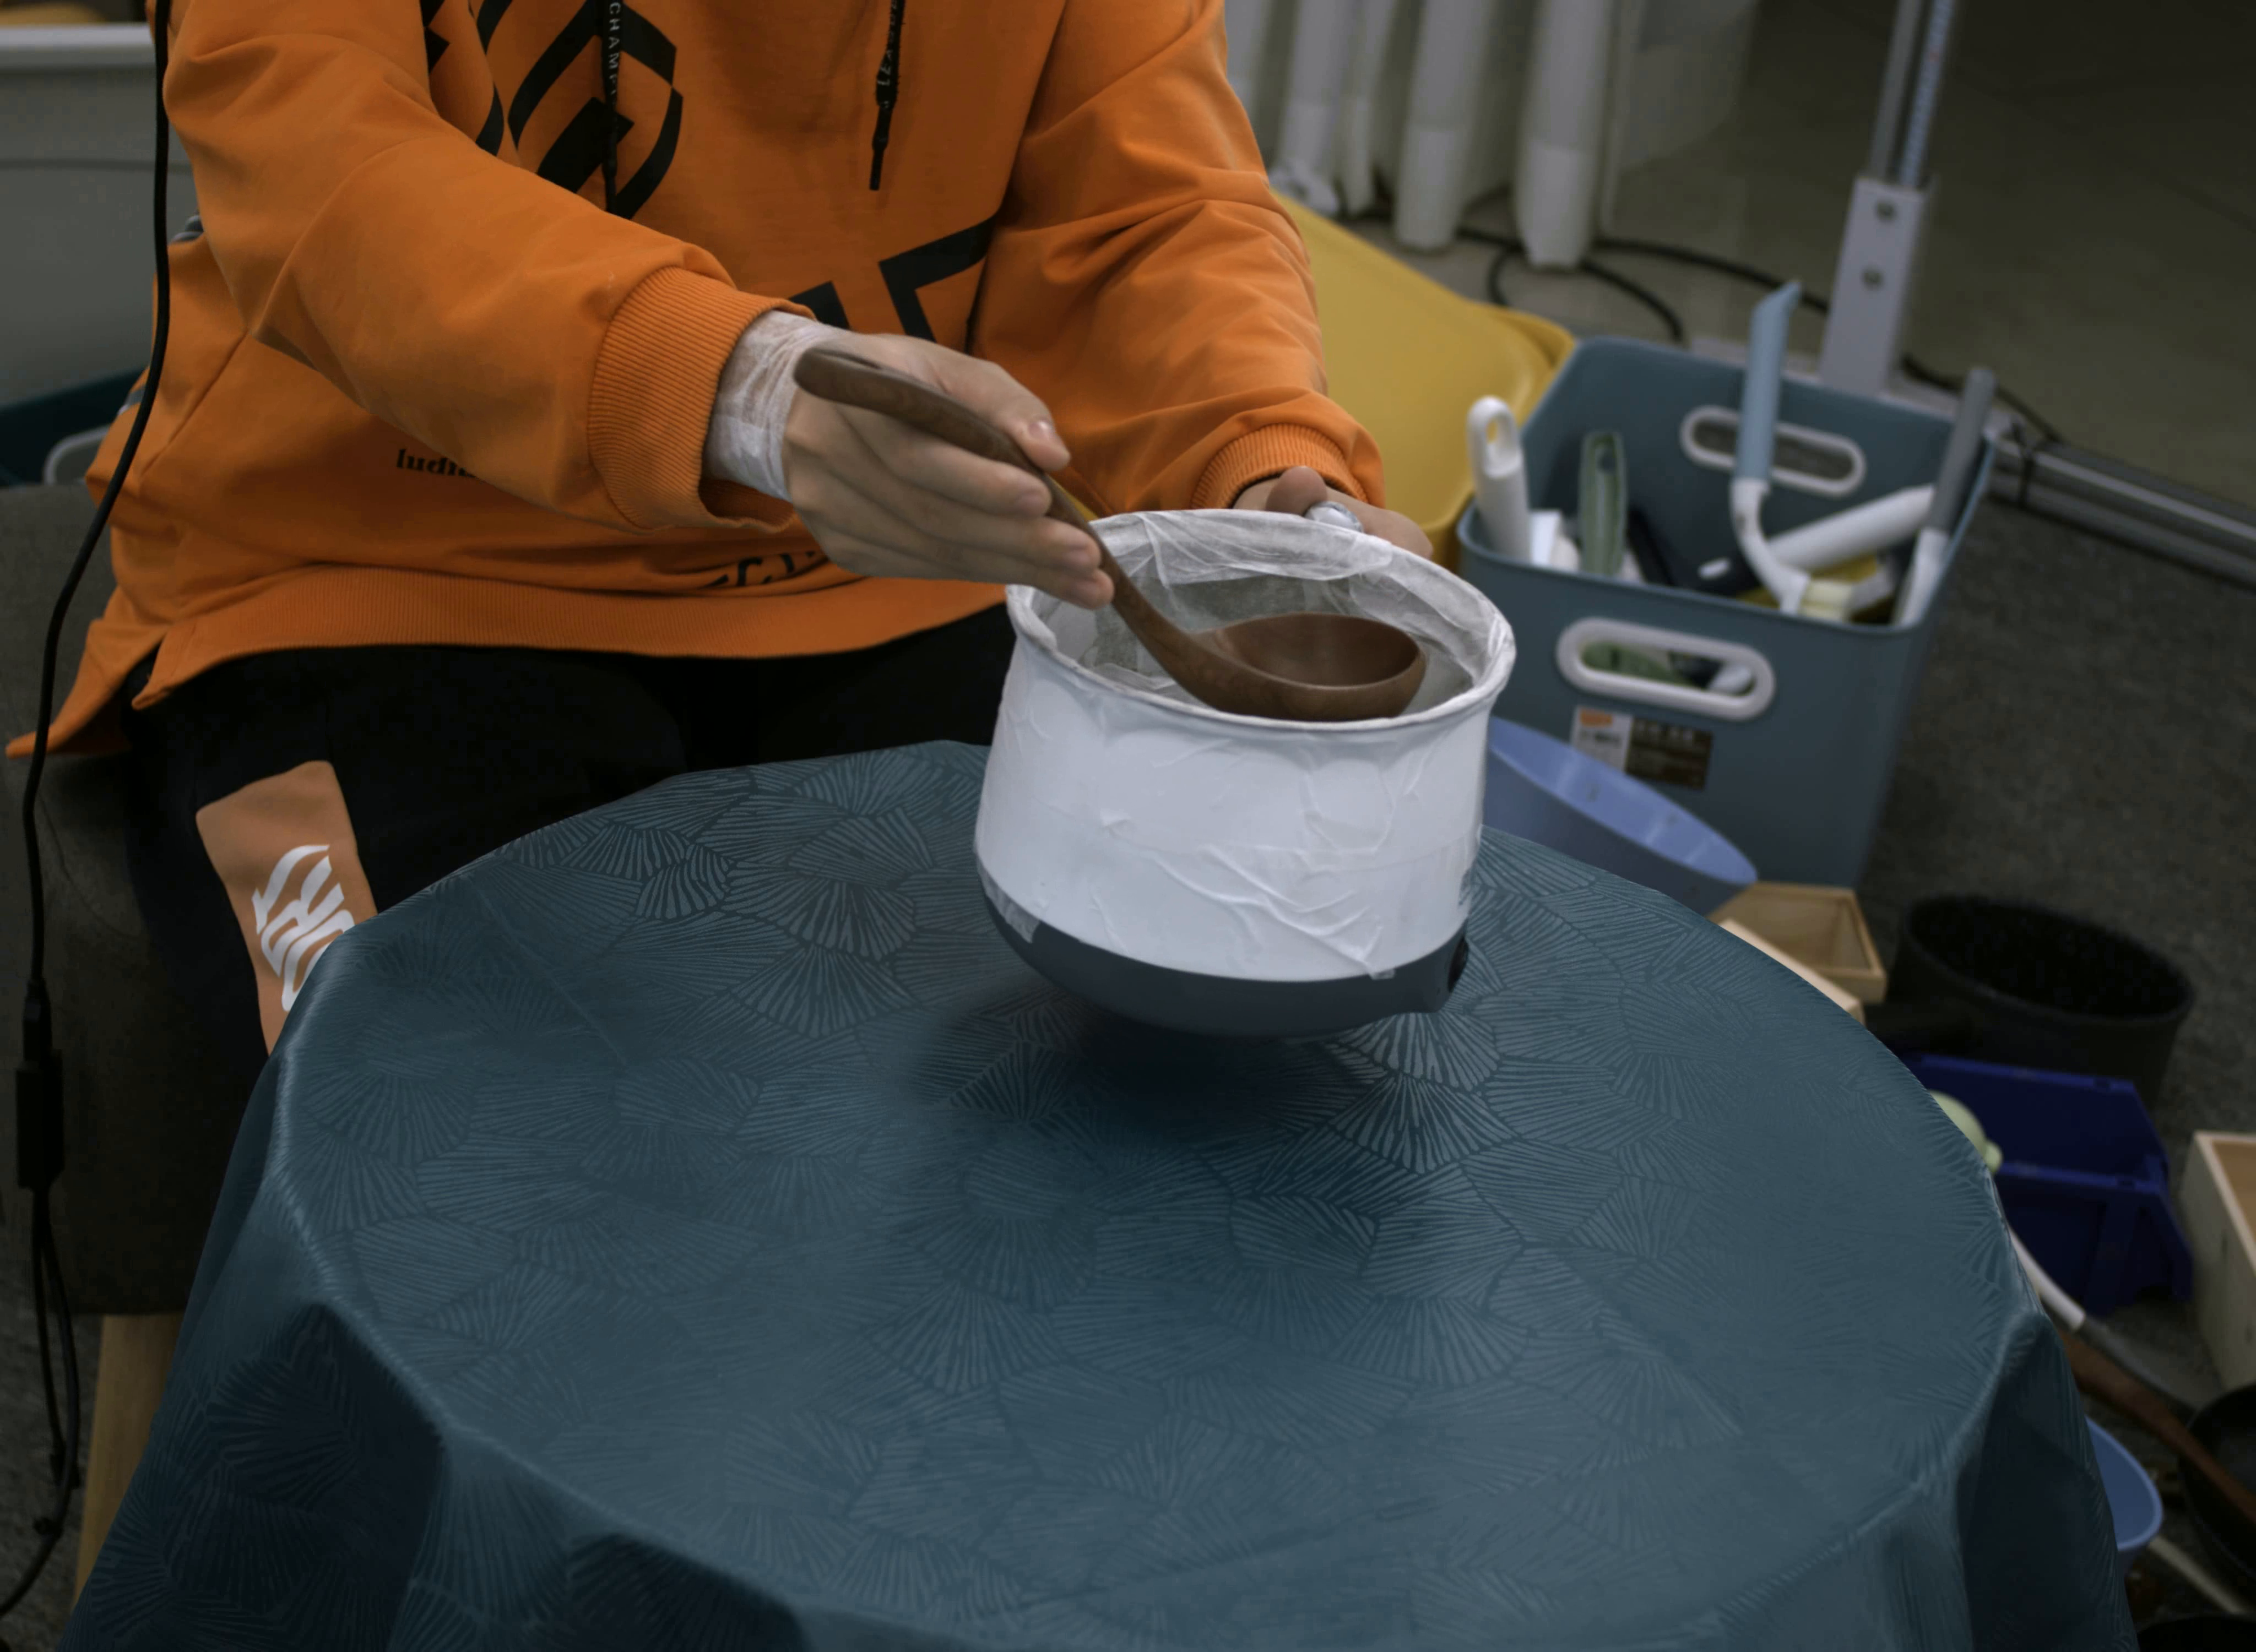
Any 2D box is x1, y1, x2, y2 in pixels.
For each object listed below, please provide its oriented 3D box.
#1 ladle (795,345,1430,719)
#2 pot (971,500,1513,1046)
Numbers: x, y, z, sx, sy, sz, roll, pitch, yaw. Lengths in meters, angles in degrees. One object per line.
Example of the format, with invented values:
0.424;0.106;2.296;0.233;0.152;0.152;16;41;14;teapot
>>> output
-0.002;-0.103;1.760;0.258;0.065;0.077;38;-3;-31;ladle
0.044;-0.028;1.880;0.179;0.136;0.234;13;27;10;pot
